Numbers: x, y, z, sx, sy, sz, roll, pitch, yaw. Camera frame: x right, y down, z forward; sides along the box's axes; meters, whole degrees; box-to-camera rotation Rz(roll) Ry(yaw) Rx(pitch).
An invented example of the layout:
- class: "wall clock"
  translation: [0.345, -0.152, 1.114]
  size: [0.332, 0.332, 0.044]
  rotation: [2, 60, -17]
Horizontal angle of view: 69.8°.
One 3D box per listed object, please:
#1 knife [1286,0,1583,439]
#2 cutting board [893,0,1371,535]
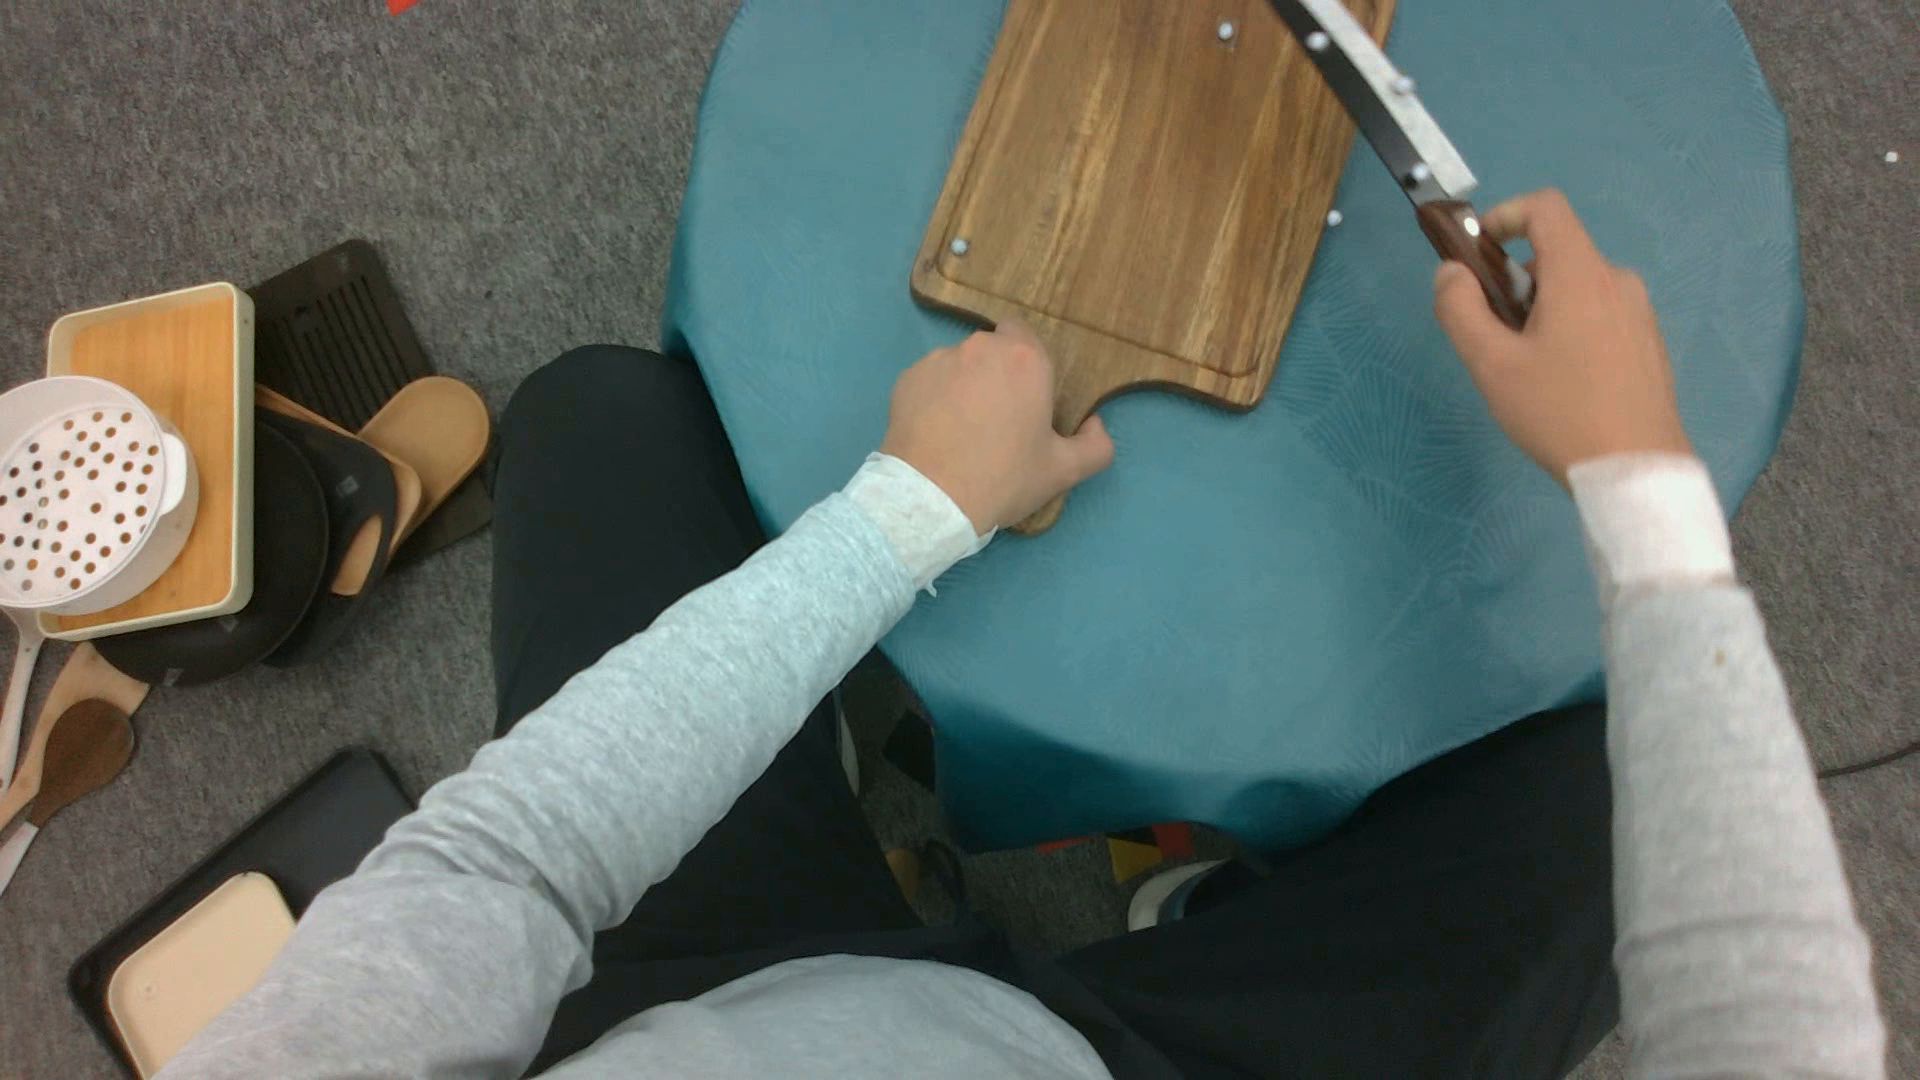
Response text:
- class: "knife"
  translation: [0.219, -0.178, 0.658]
  size: [0.050, 0.020, 0.289]
  rotation: [-23, 83, -28]
- class: "cutting board"
  translation: [0.079, -0.170, 0.733]
  size: [0.201, 0.023, 0.352]
  rotation: [19, 81, 3]
